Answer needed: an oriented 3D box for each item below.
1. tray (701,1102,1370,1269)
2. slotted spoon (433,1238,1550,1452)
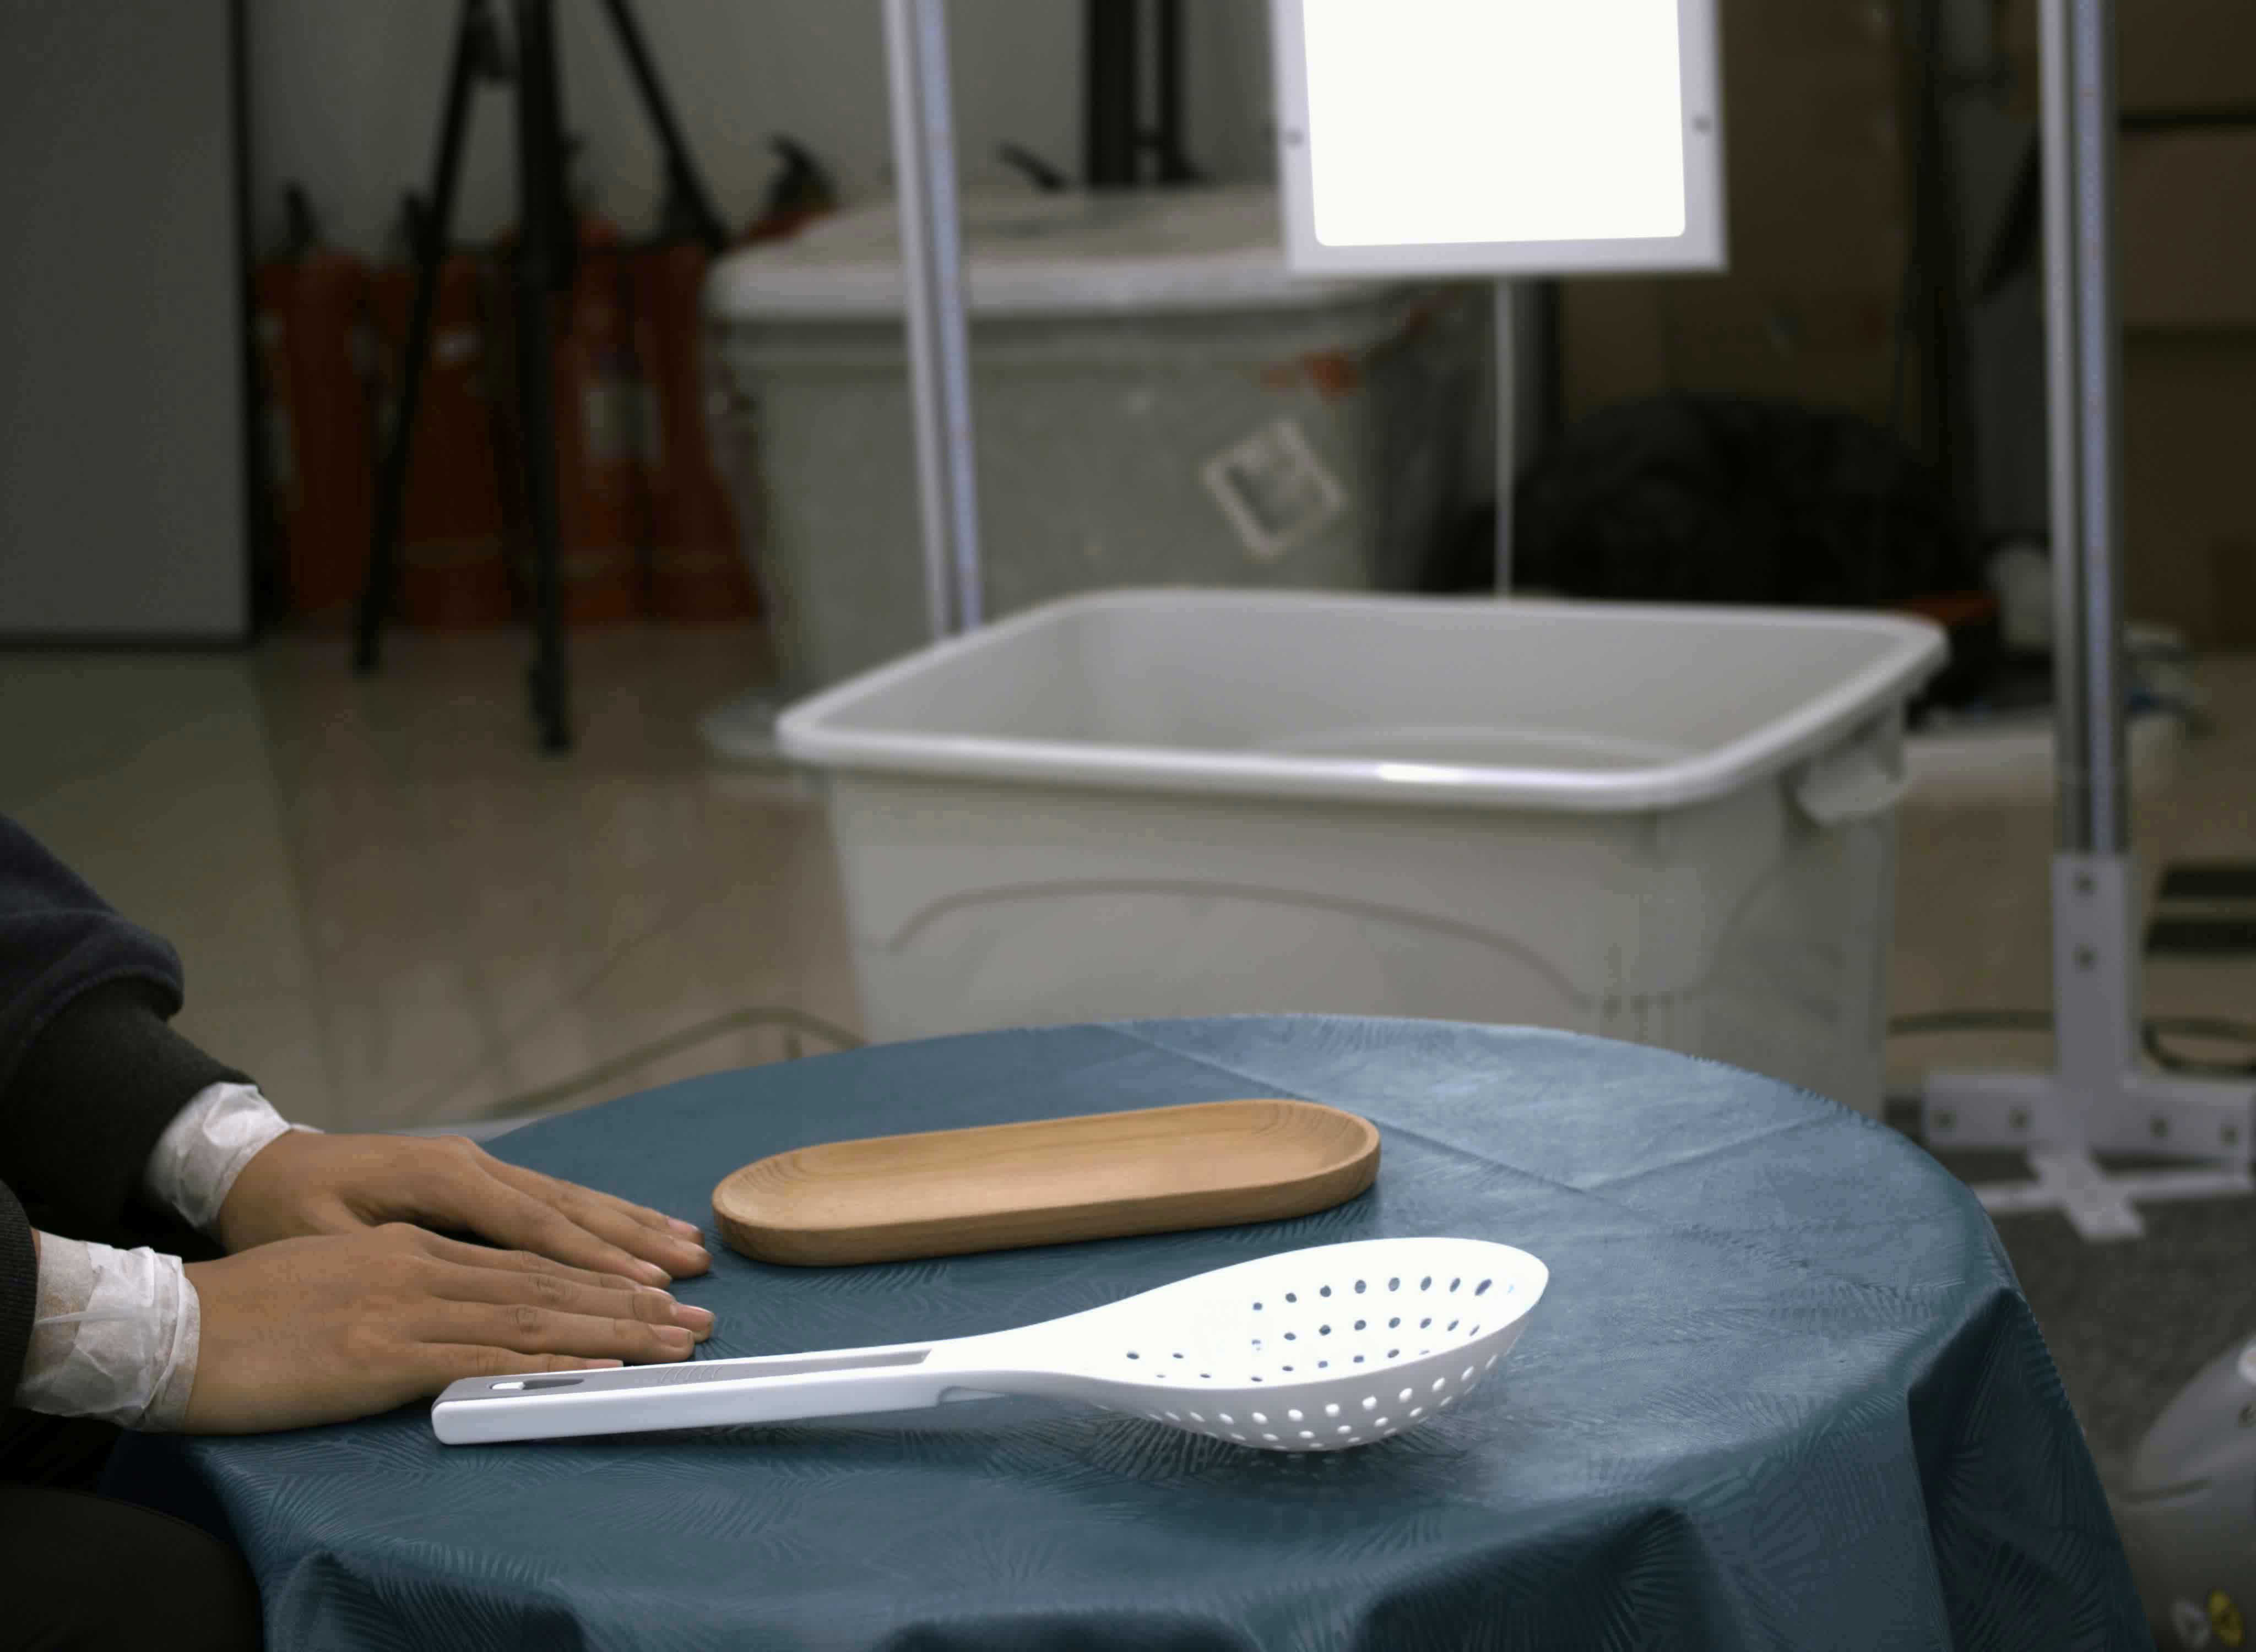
[{"bbox_3d":[-0.031,0.123,1.887,0.230,0.020,0.102,-7,13,-4],"label":"tray"},{"bbox_3d":[-0.044,0.163,1.666,0.353,0.046,0.134,-2,12,15],"label":"slotted spoon"}]
